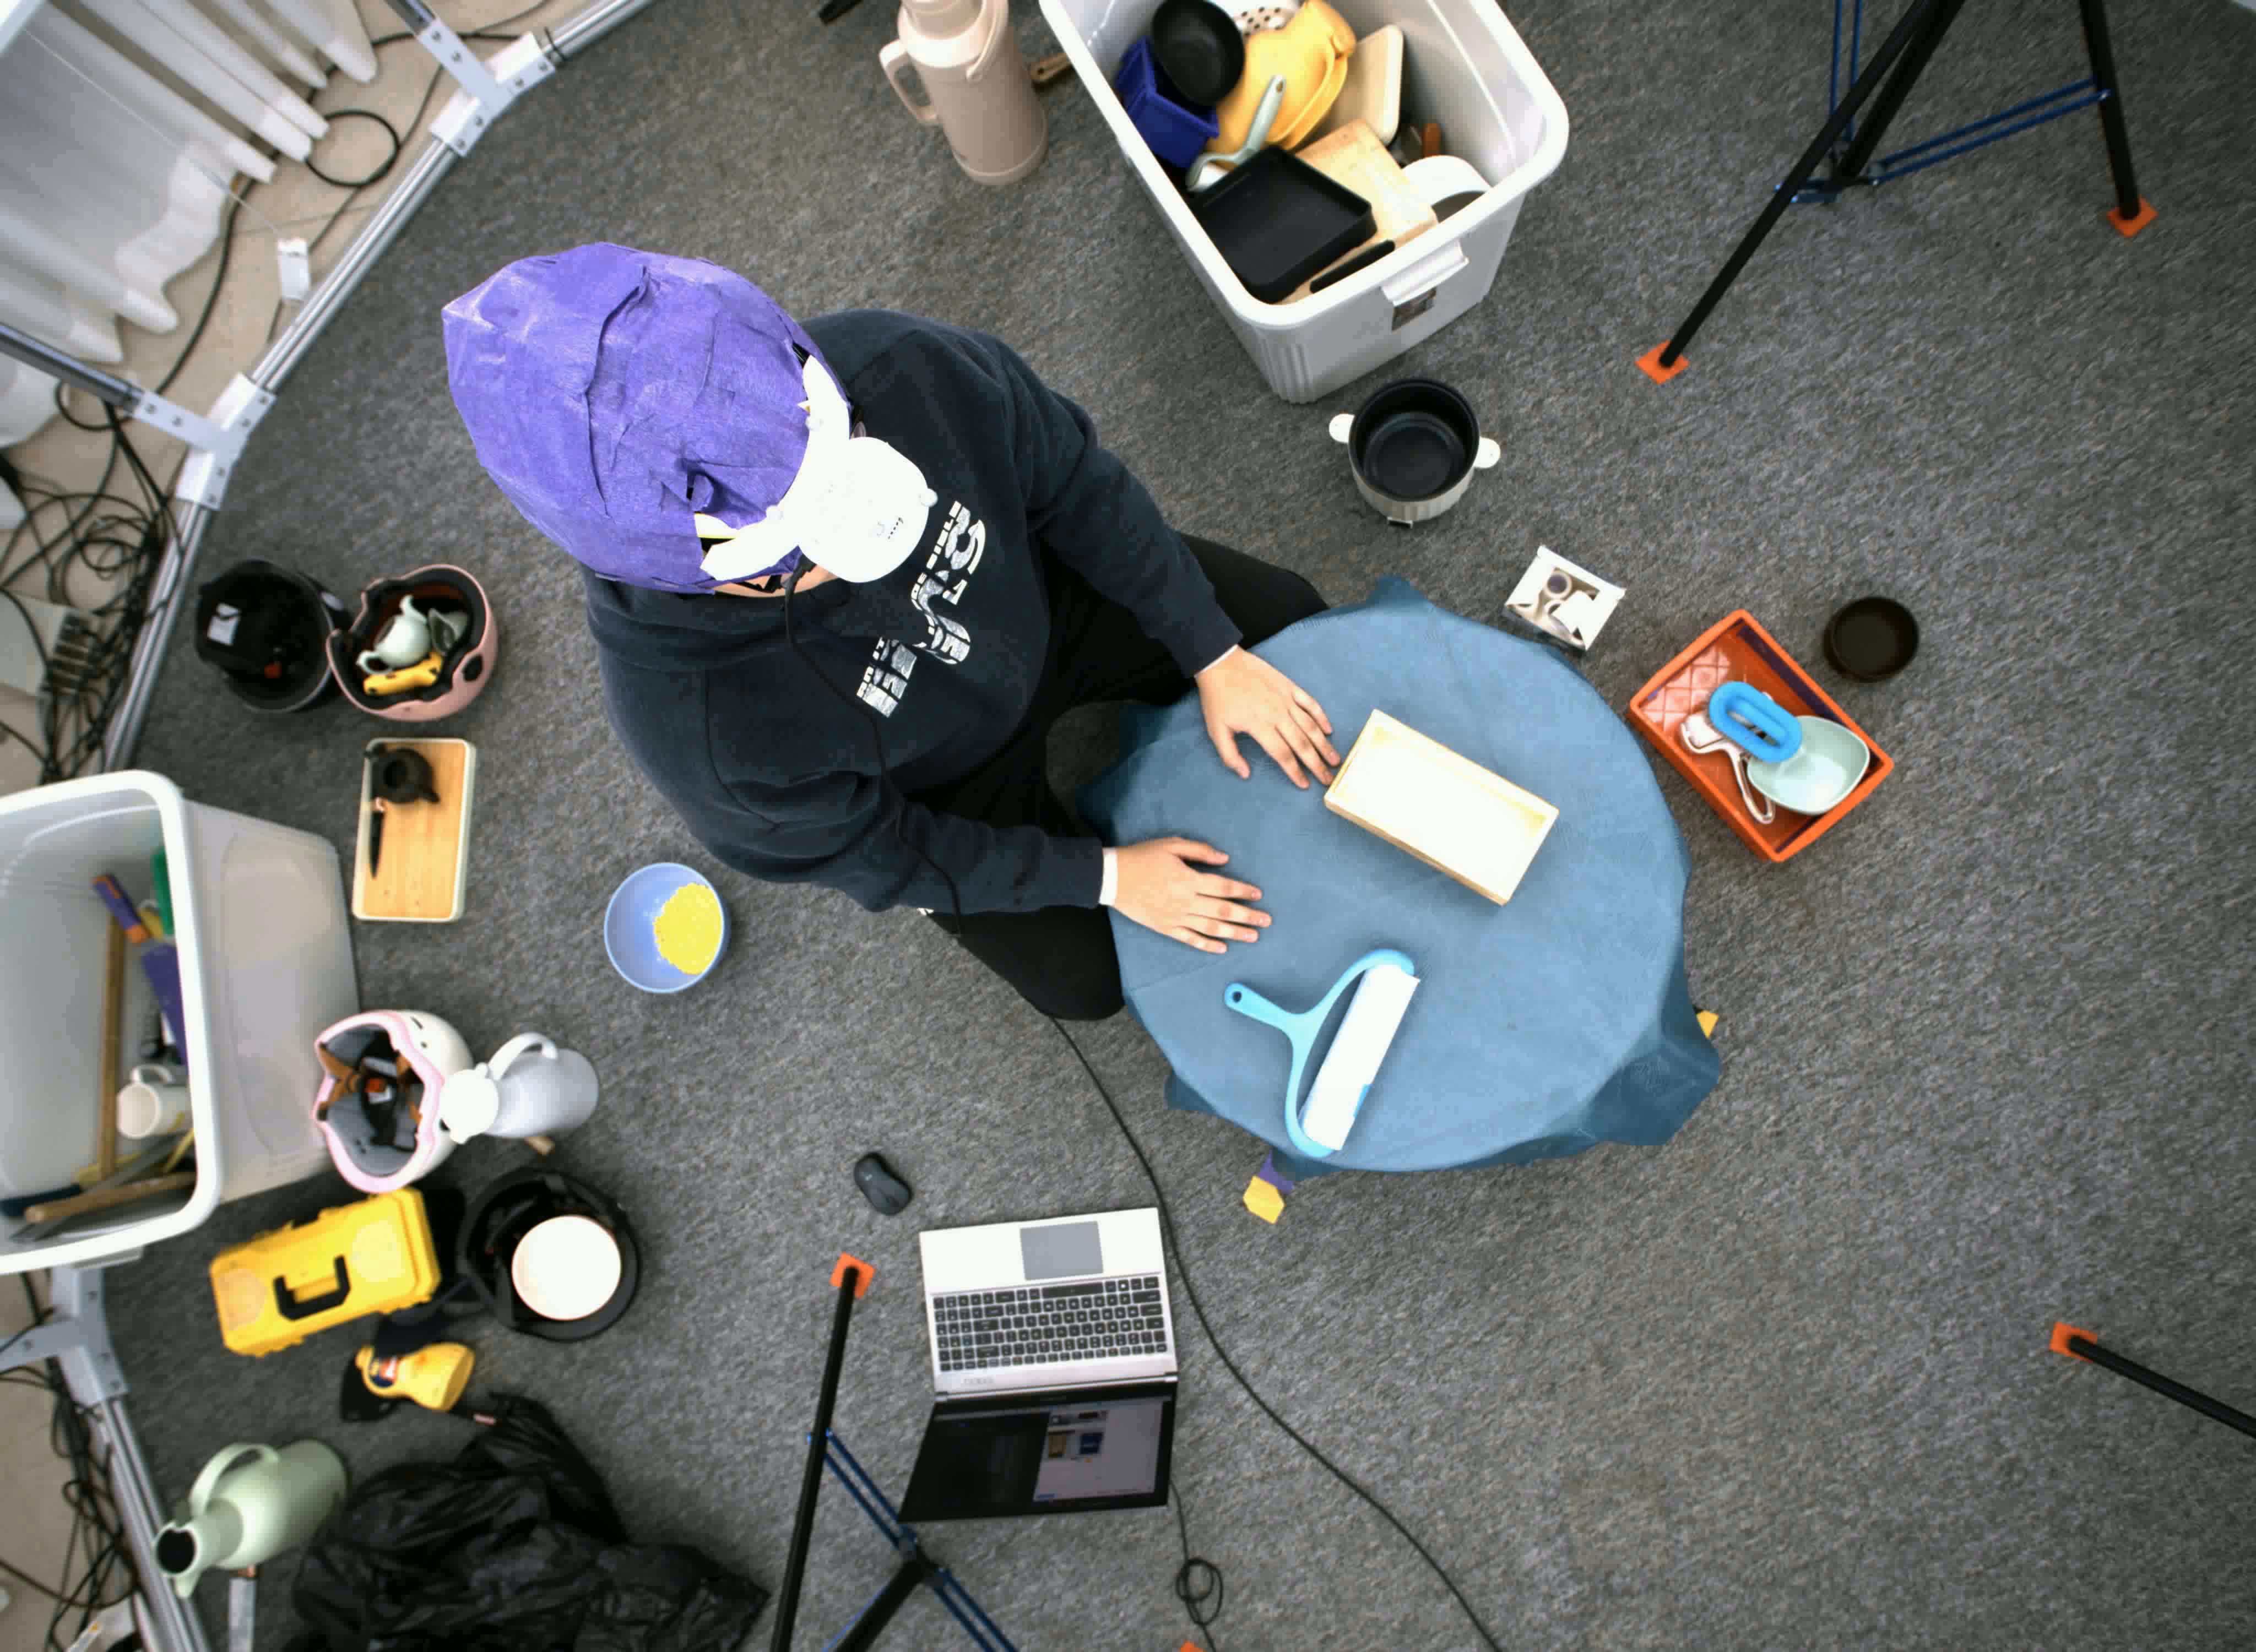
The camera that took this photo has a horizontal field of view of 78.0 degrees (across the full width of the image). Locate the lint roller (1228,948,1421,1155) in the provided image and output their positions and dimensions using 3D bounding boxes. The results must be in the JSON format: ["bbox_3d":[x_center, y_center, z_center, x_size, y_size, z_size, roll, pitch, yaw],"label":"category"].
[{"bbox_3d":[0.183,0.210,1.439,0.180,0.068,0.229,23,93,10],"label":"lint roller"}]

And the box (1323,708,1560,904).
[{"bbox_3d":[0.319,-0.021,1.417,0.211,0.080,0.107,29,91,11],"label":"box"}]
